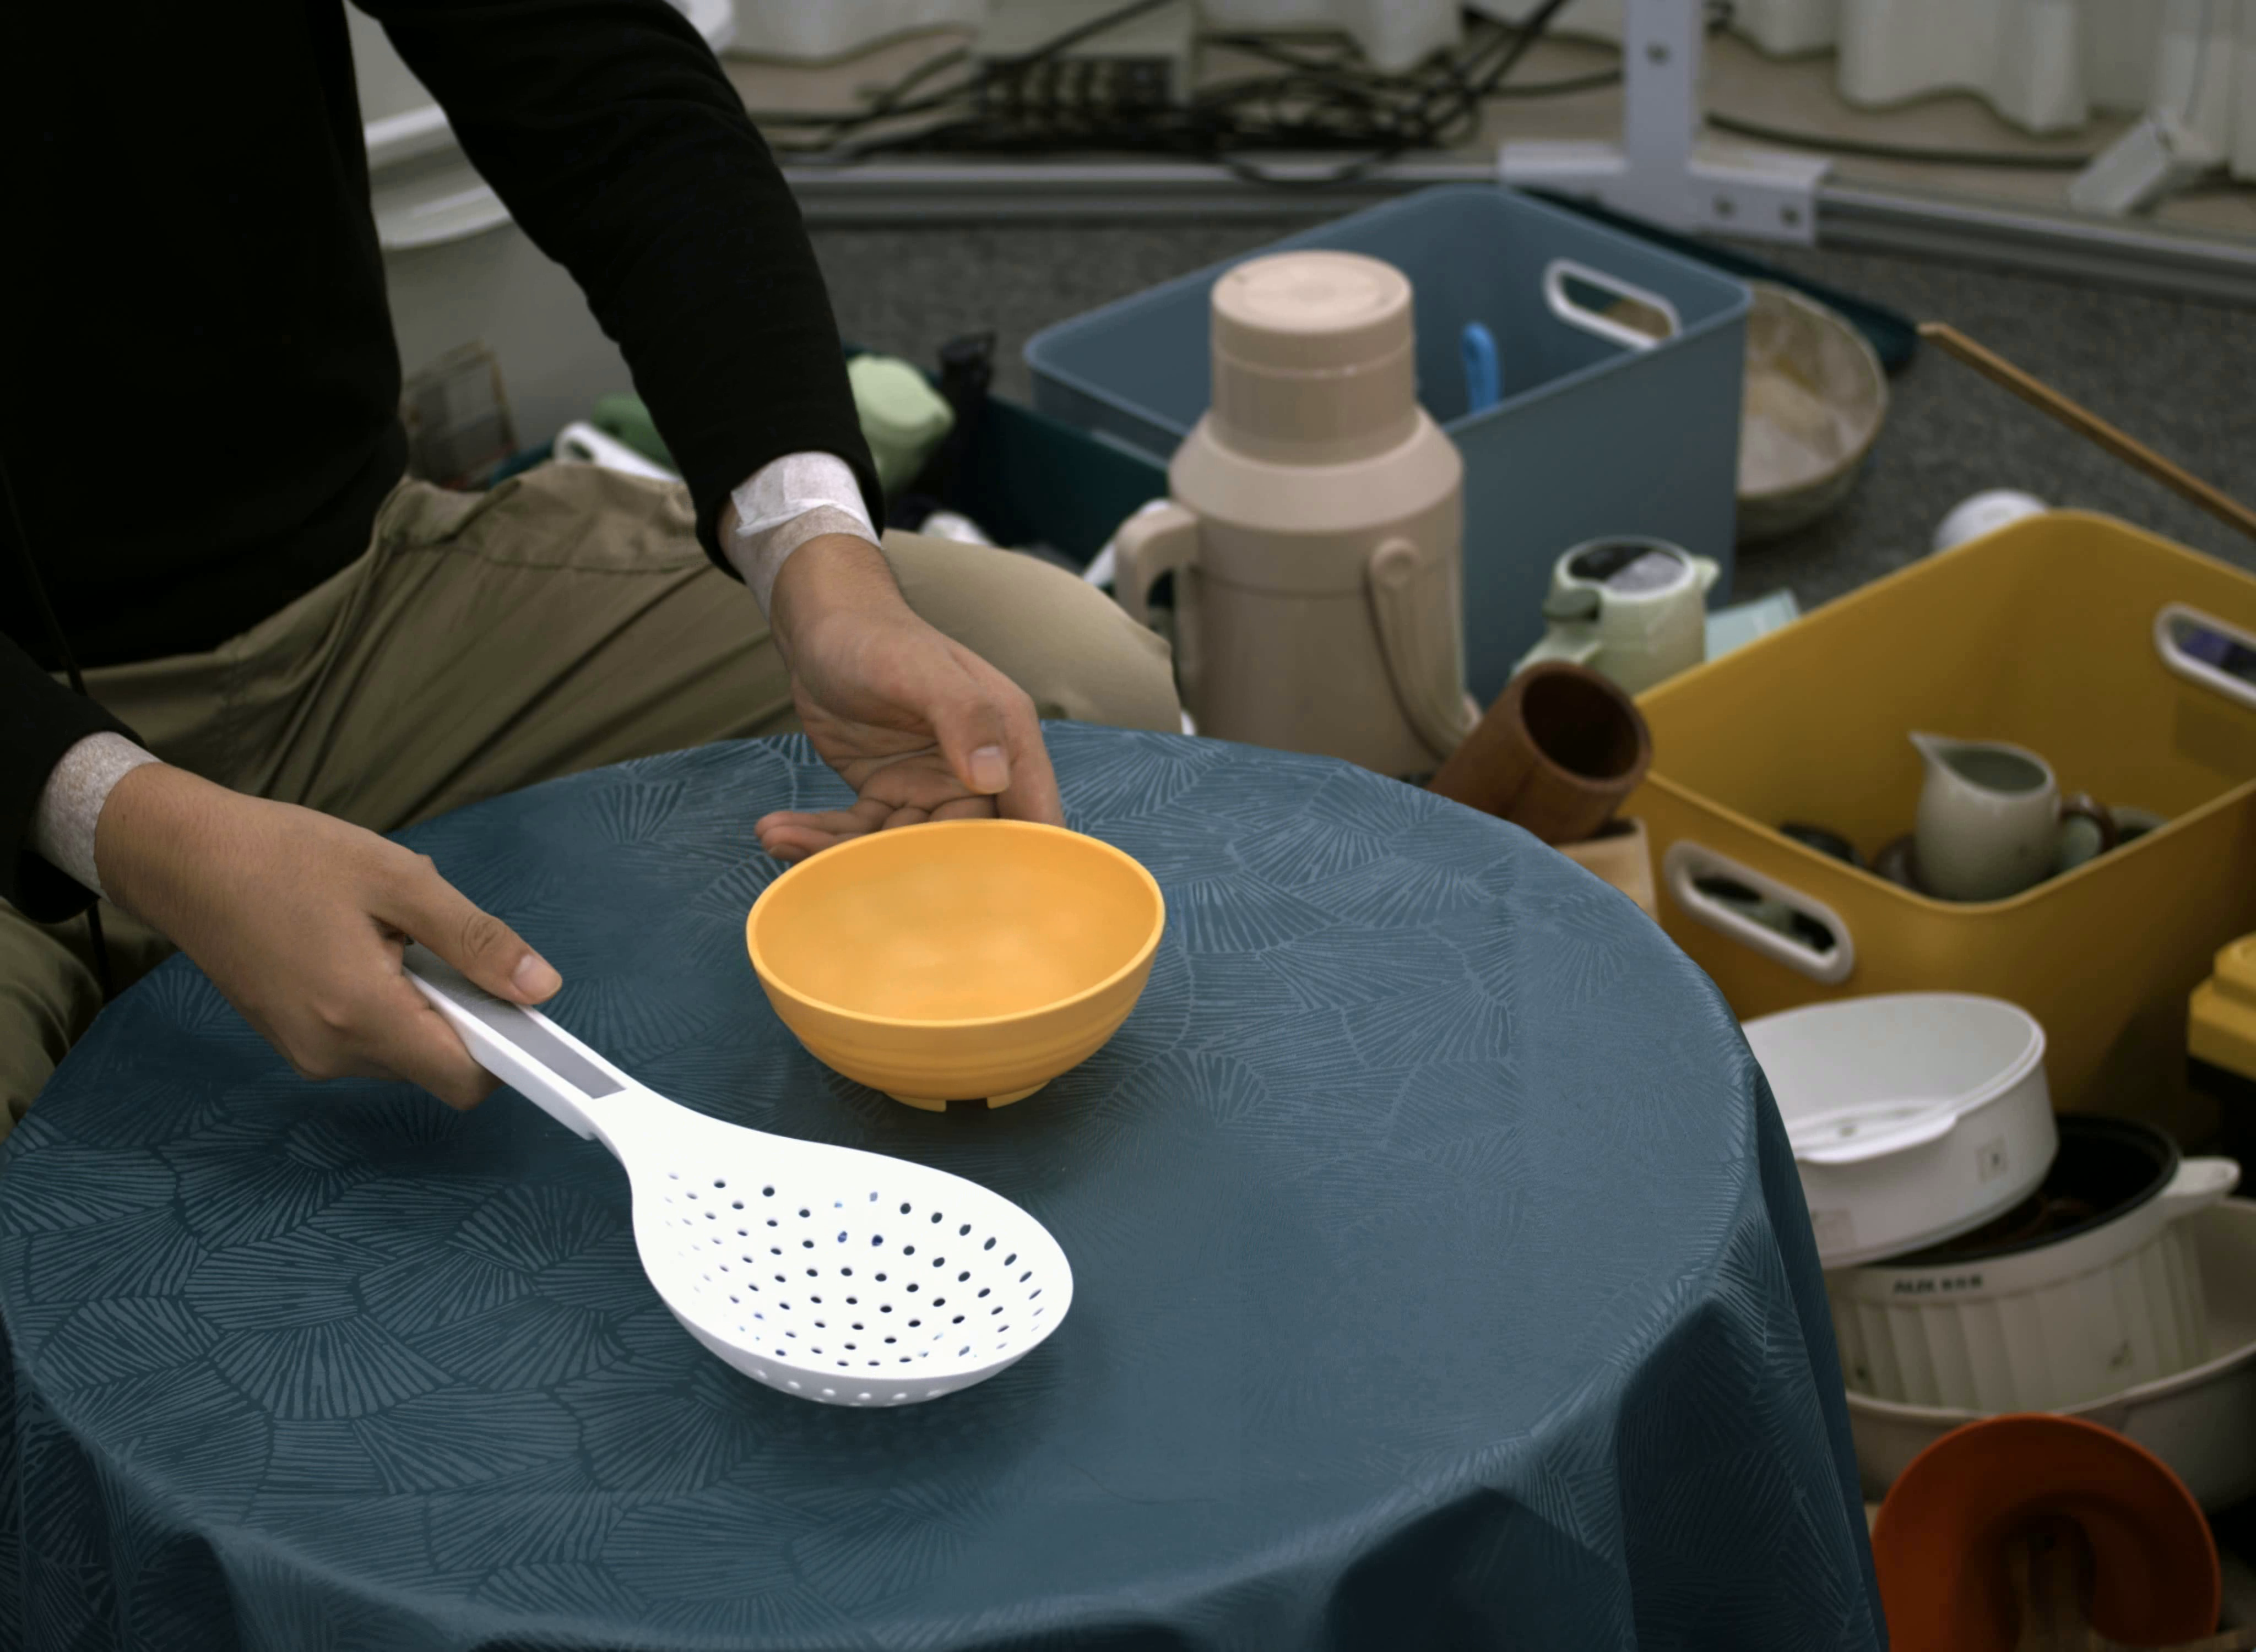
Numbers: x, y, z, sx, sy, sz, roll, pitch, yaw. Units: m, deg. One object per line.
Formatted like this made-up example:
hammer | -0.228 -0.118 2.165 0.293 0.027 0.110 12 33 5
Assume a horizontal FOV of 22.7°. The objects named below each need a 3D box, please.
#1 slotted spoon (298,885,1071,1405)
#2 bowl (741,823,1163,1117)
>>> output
slotted spoon | -0.159 0.099 1.823 0.137 0.045 0.351 -15 39 -42
bowl | -0.060 0.058 1.929 0.144 0.059 0.147 0 27 1
